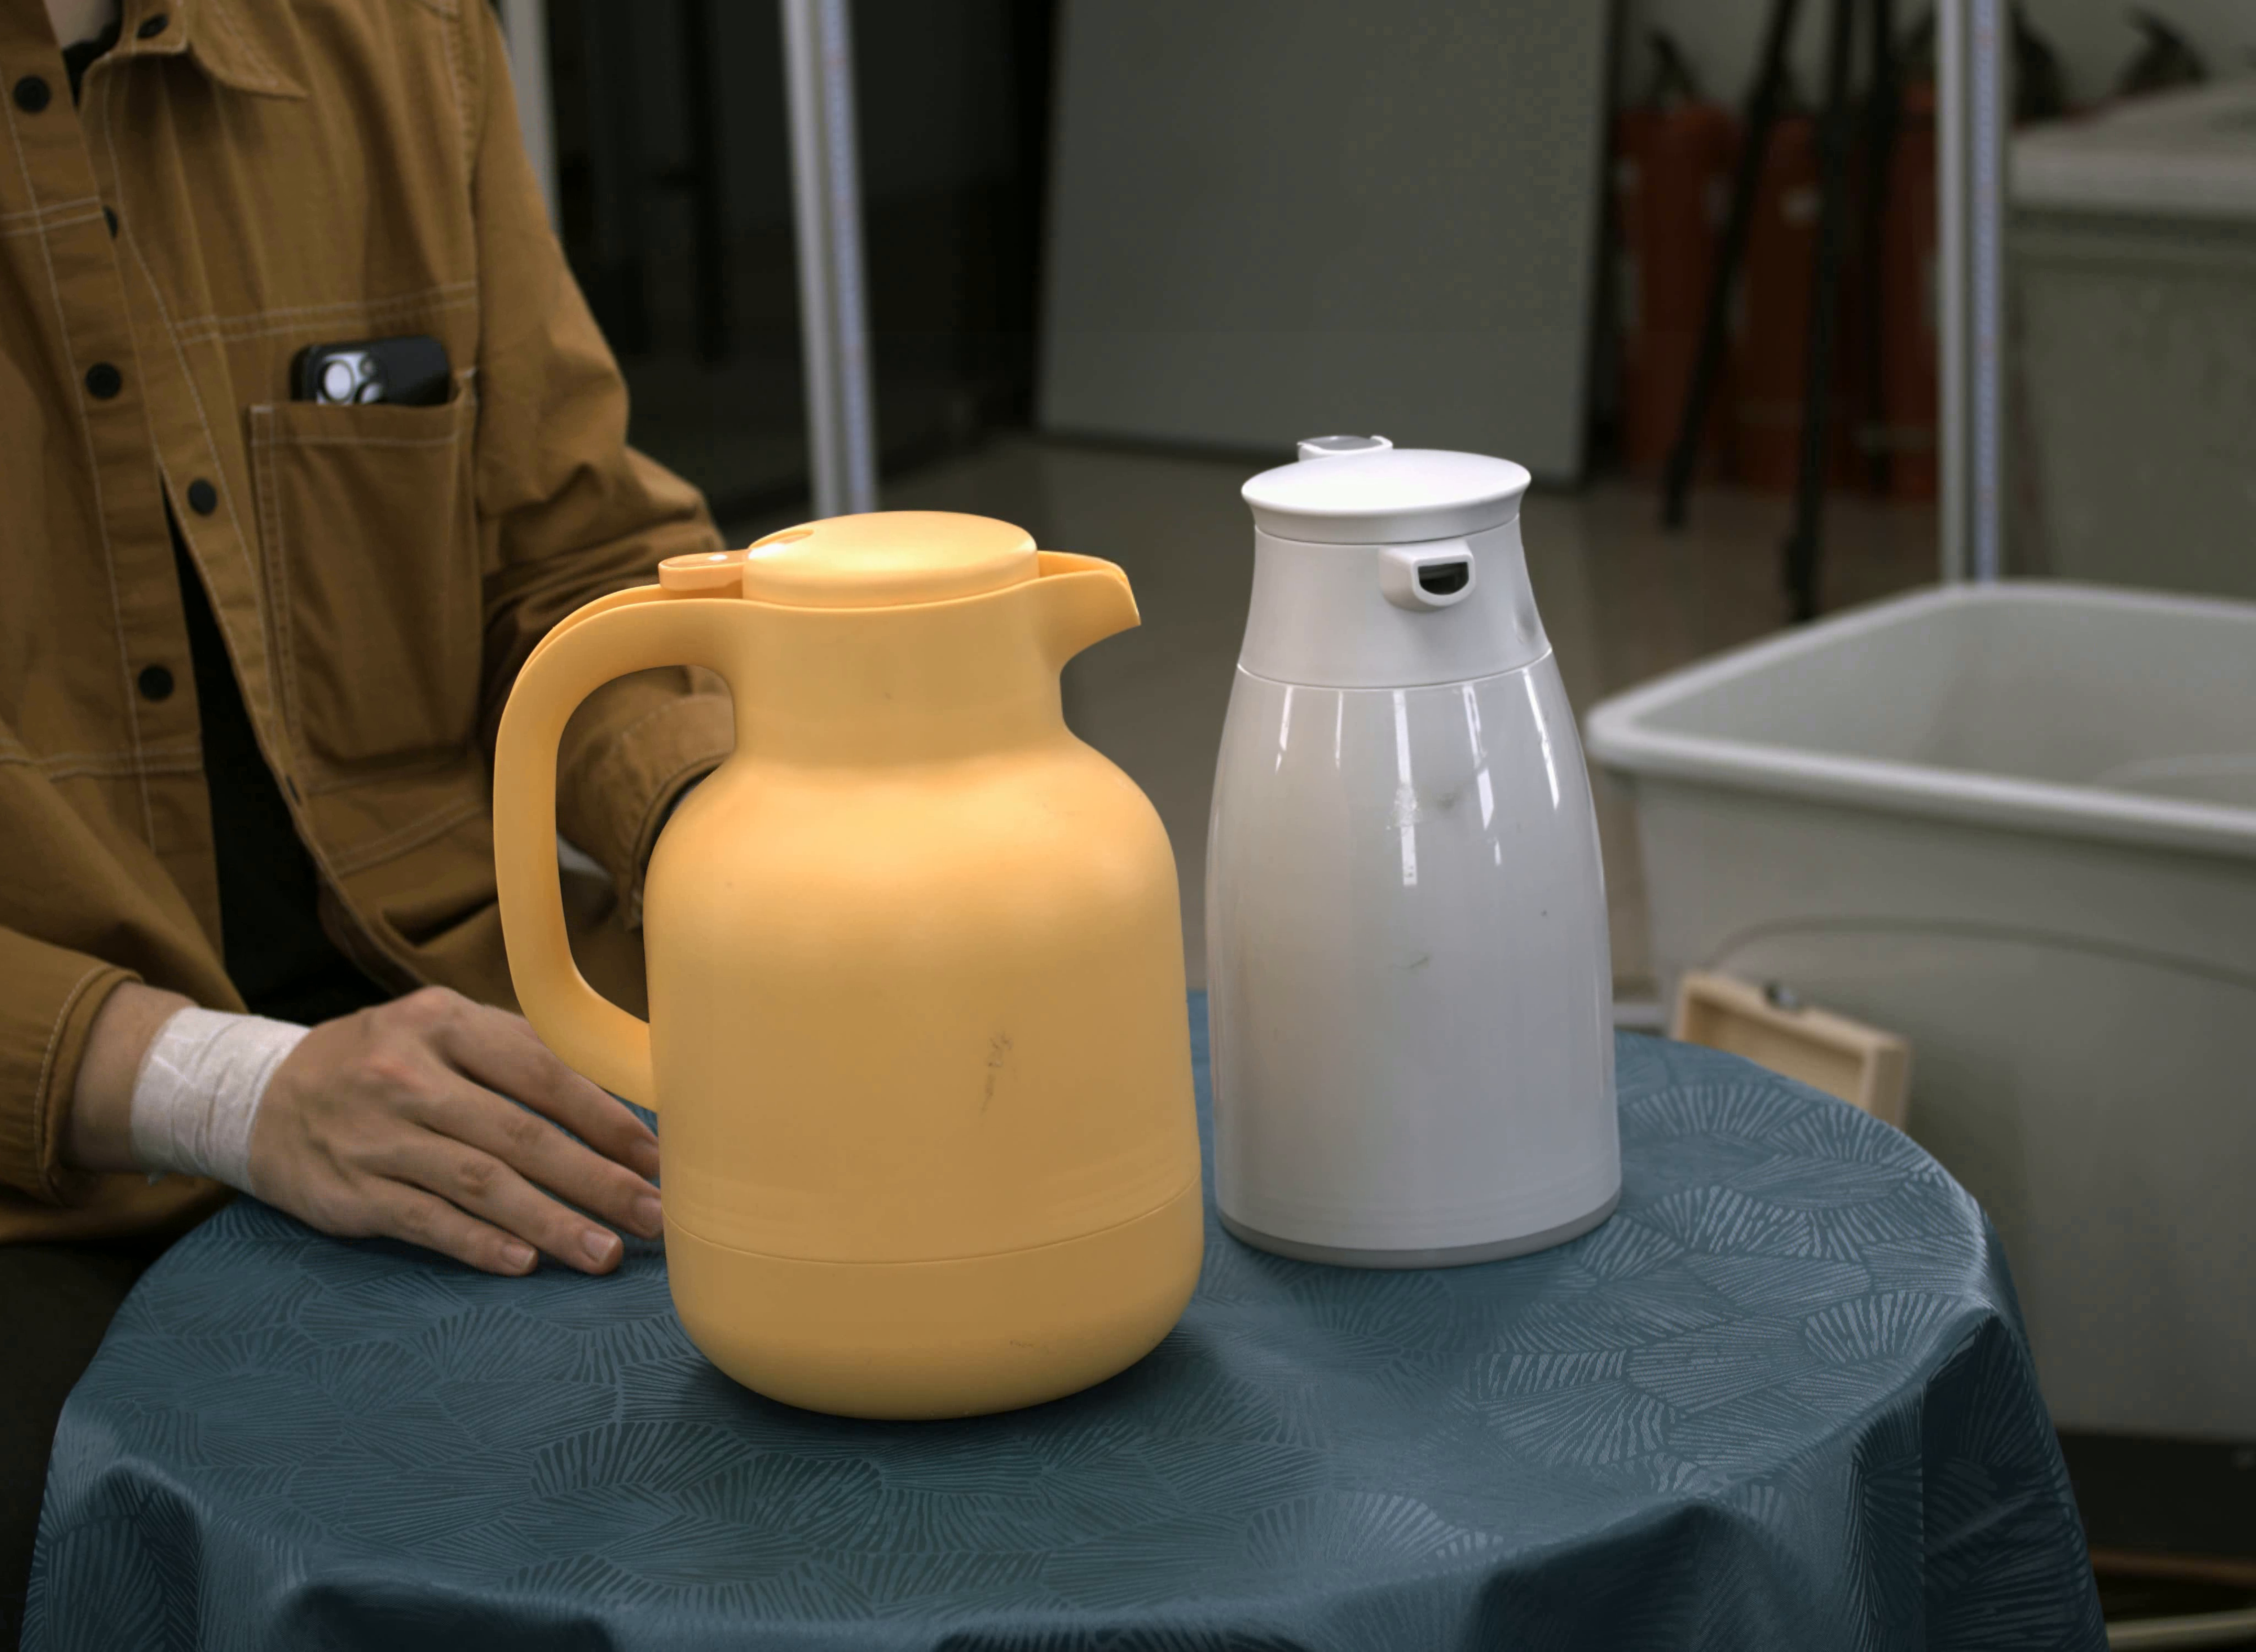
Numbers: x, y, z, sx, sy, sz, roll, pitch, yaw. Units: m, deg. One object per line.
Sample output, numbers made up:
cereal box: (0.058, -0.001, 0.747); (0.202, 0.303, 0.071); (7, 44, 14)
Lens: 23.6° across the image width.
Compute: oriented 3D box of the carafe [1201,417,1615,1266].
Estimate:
carafe: (0.080, -0.003, 1.729); (0.130, 0.251, 0.169); (-7, 13, -12)

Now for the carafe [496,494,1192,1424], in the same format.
carafe: (-0.084, 0.036, 1.601); (0.200, 0.263, 0.163); (-2, 11, 2)
